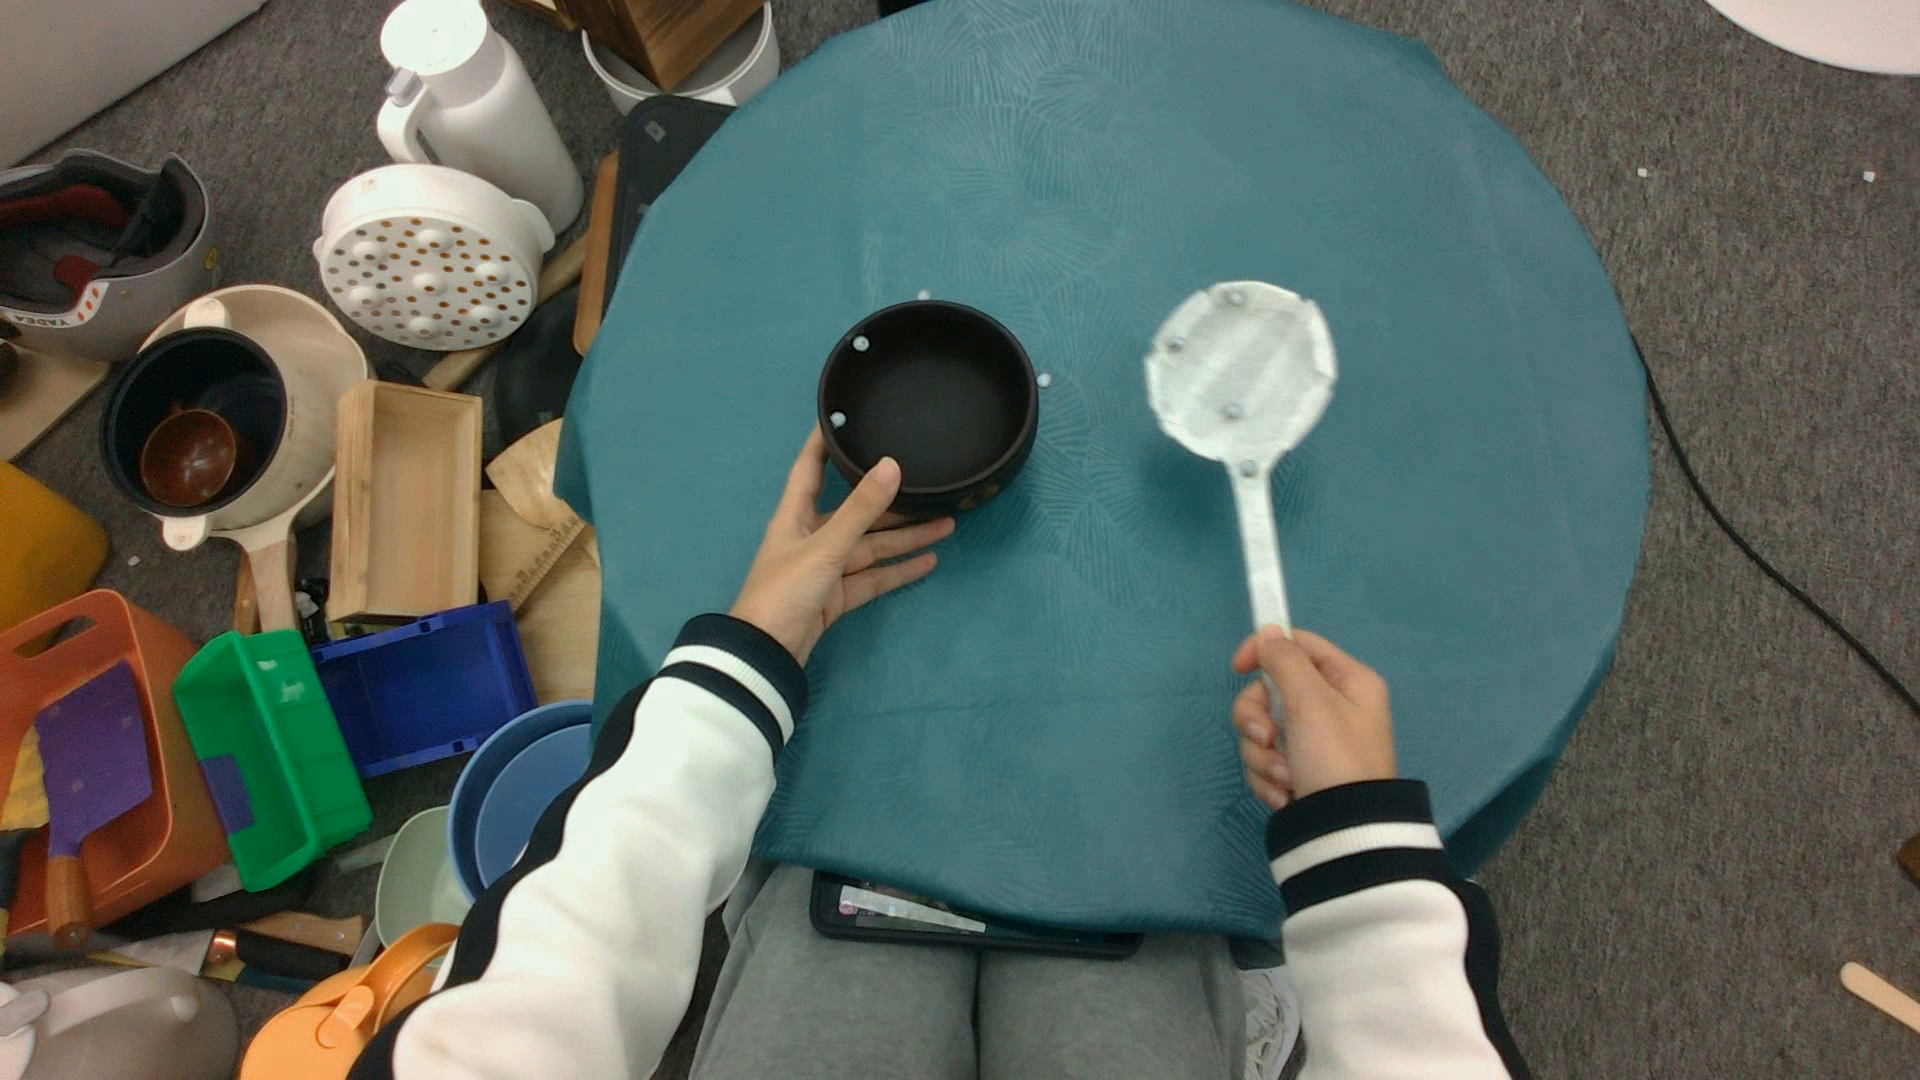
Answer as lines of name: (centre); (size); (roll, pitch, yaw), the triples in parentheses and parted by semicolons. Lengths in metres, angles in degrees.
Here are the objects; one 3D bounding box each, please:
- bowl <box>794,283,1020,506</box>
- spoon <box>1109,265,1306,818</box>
bowl: (-0.027, -0.072, 0.741); (0.118, 0.069, 0.118); (0, 70, 1)
spoon: (0.127, -0.009, 0.654); (0.100, 0.059, 0.278); (-6, 57, 8)
